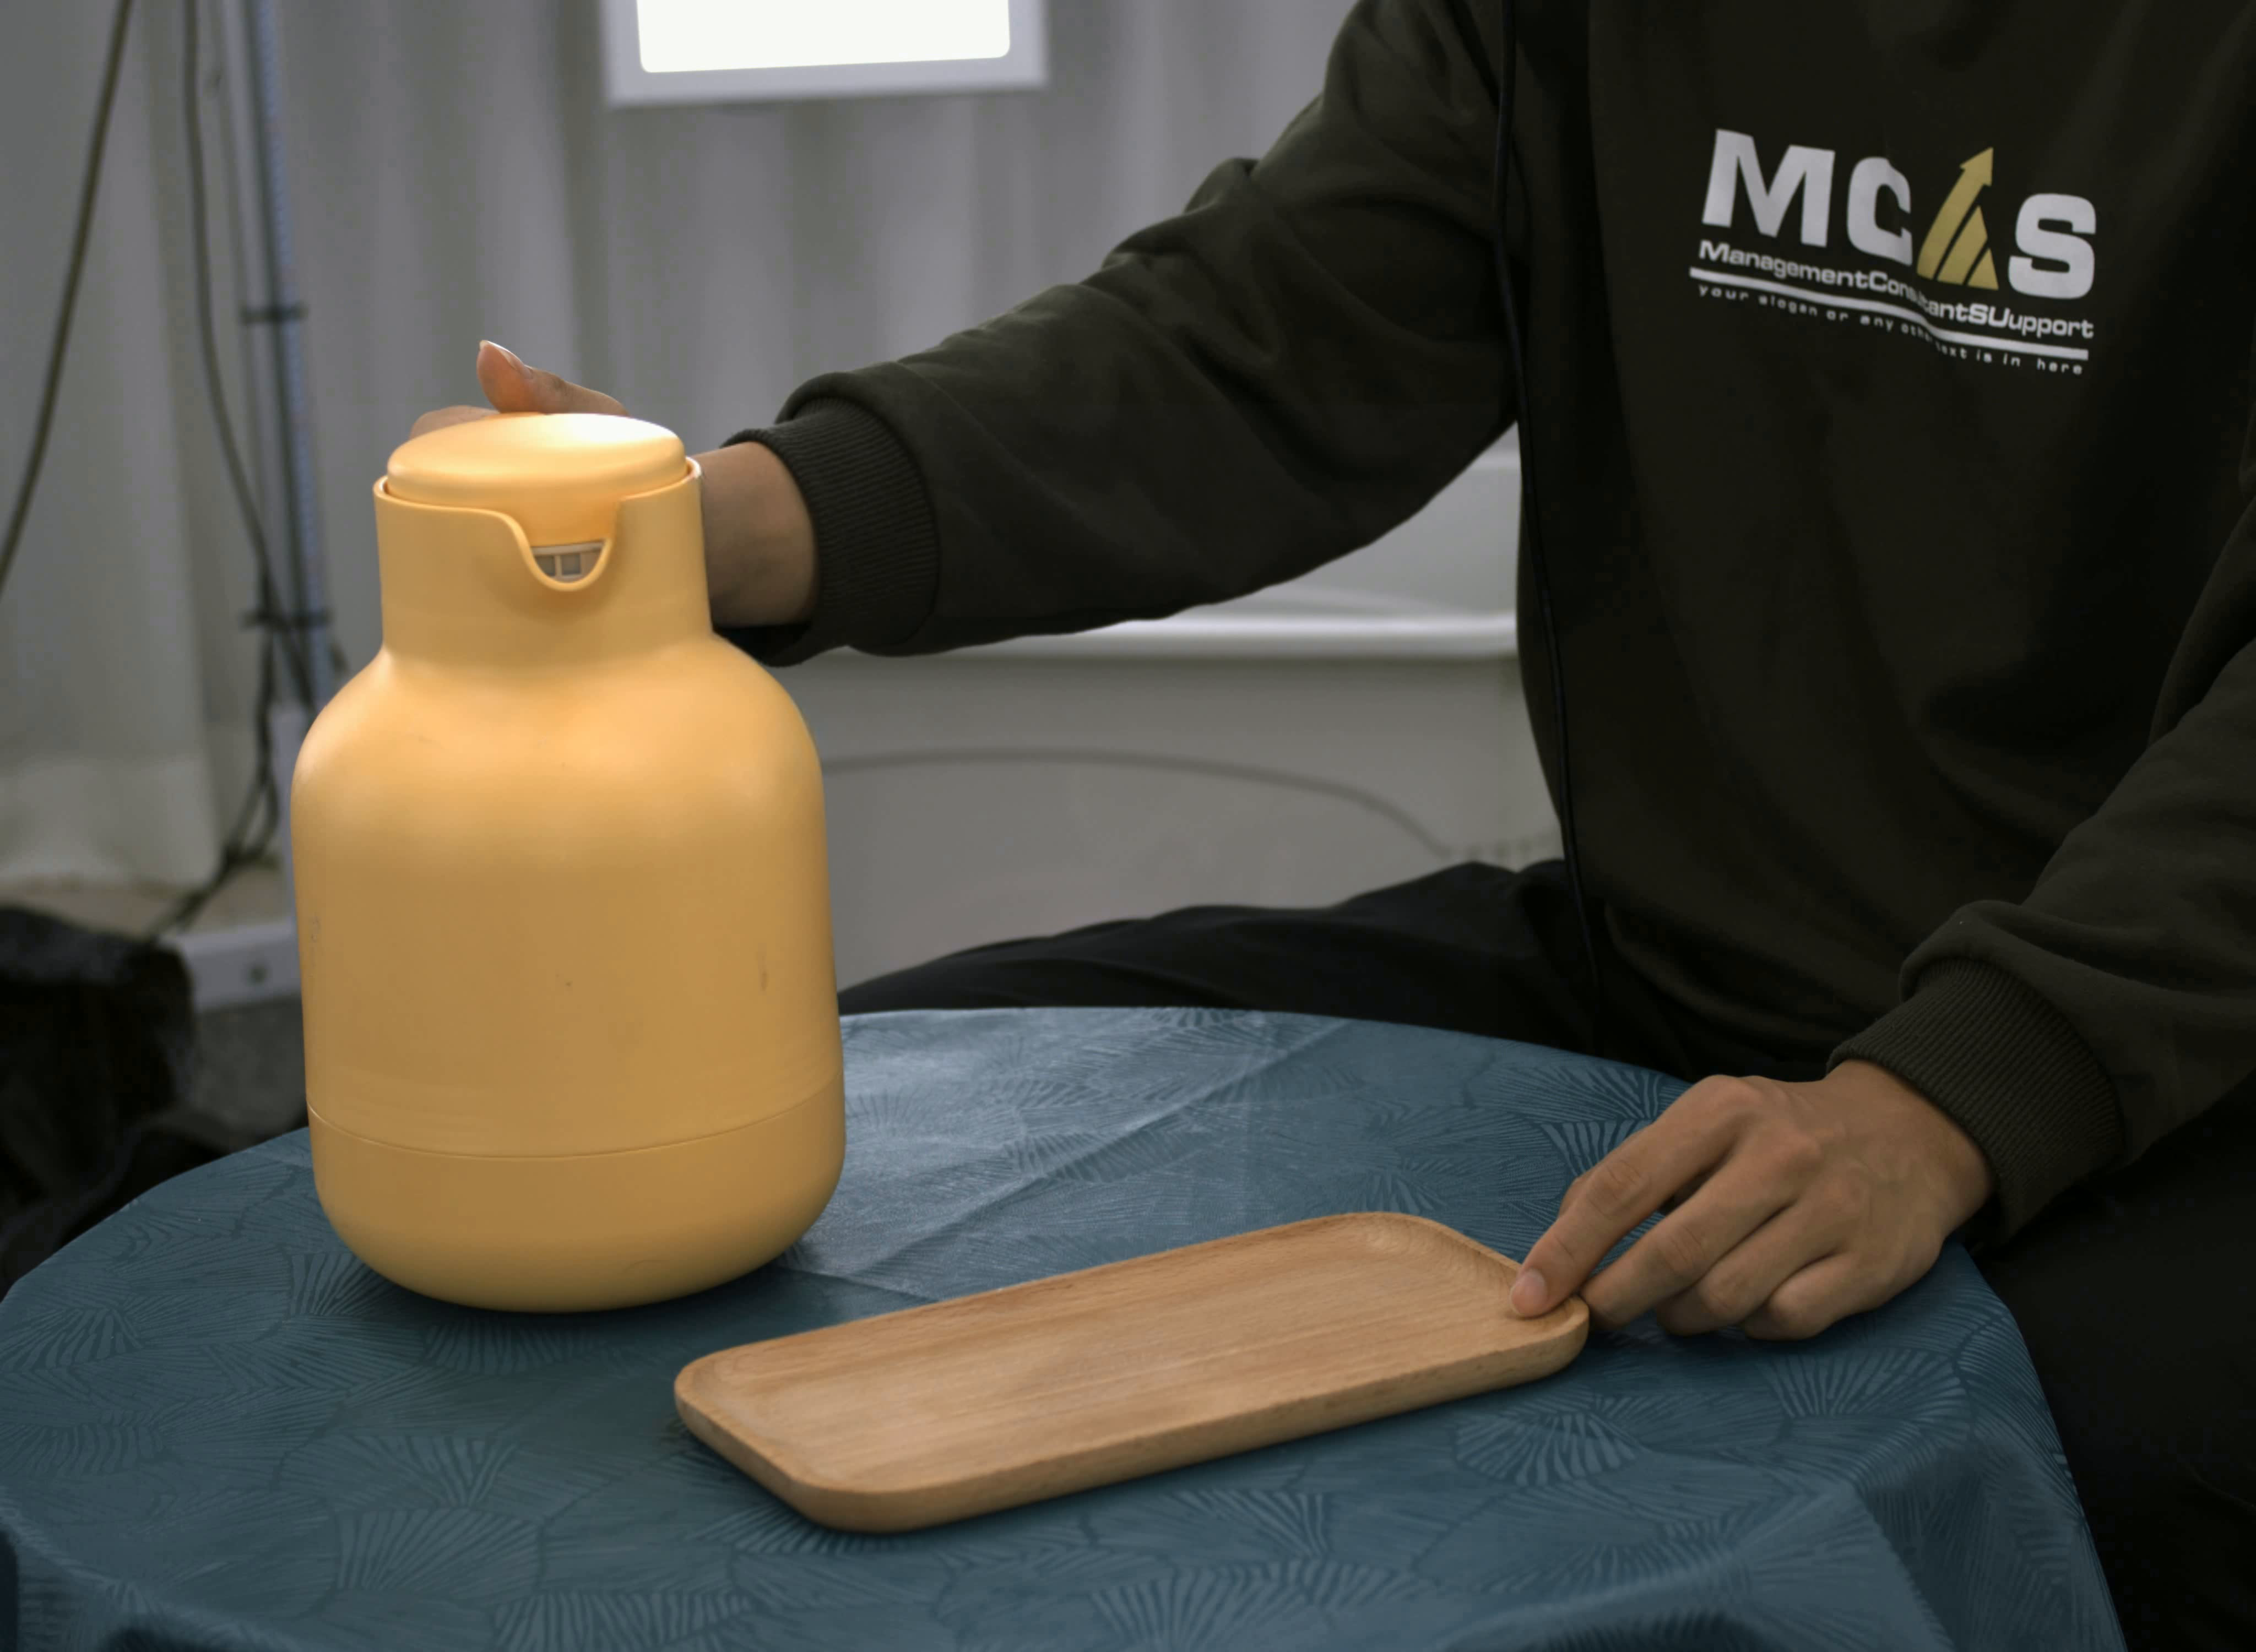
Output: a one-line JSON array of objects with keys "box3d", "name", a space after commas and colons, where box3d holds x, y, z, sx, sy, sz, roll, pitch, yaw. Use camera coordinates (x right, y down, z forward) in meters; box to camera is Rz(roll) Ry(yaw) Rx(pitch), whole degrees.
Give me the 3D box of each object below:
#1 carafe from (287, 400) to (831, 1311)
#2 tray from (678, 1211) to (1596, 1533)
[{"box3d": [-0.175, 0.001, 1.671, 0.163, 0.259, 0.204, -2, 15, -10], "name": "carafe"}, {"box3d": [0.004, 0.153, 1.544, 0.249, 0.023, 0.131, -9, 19, -26], "name": "tray"}]
